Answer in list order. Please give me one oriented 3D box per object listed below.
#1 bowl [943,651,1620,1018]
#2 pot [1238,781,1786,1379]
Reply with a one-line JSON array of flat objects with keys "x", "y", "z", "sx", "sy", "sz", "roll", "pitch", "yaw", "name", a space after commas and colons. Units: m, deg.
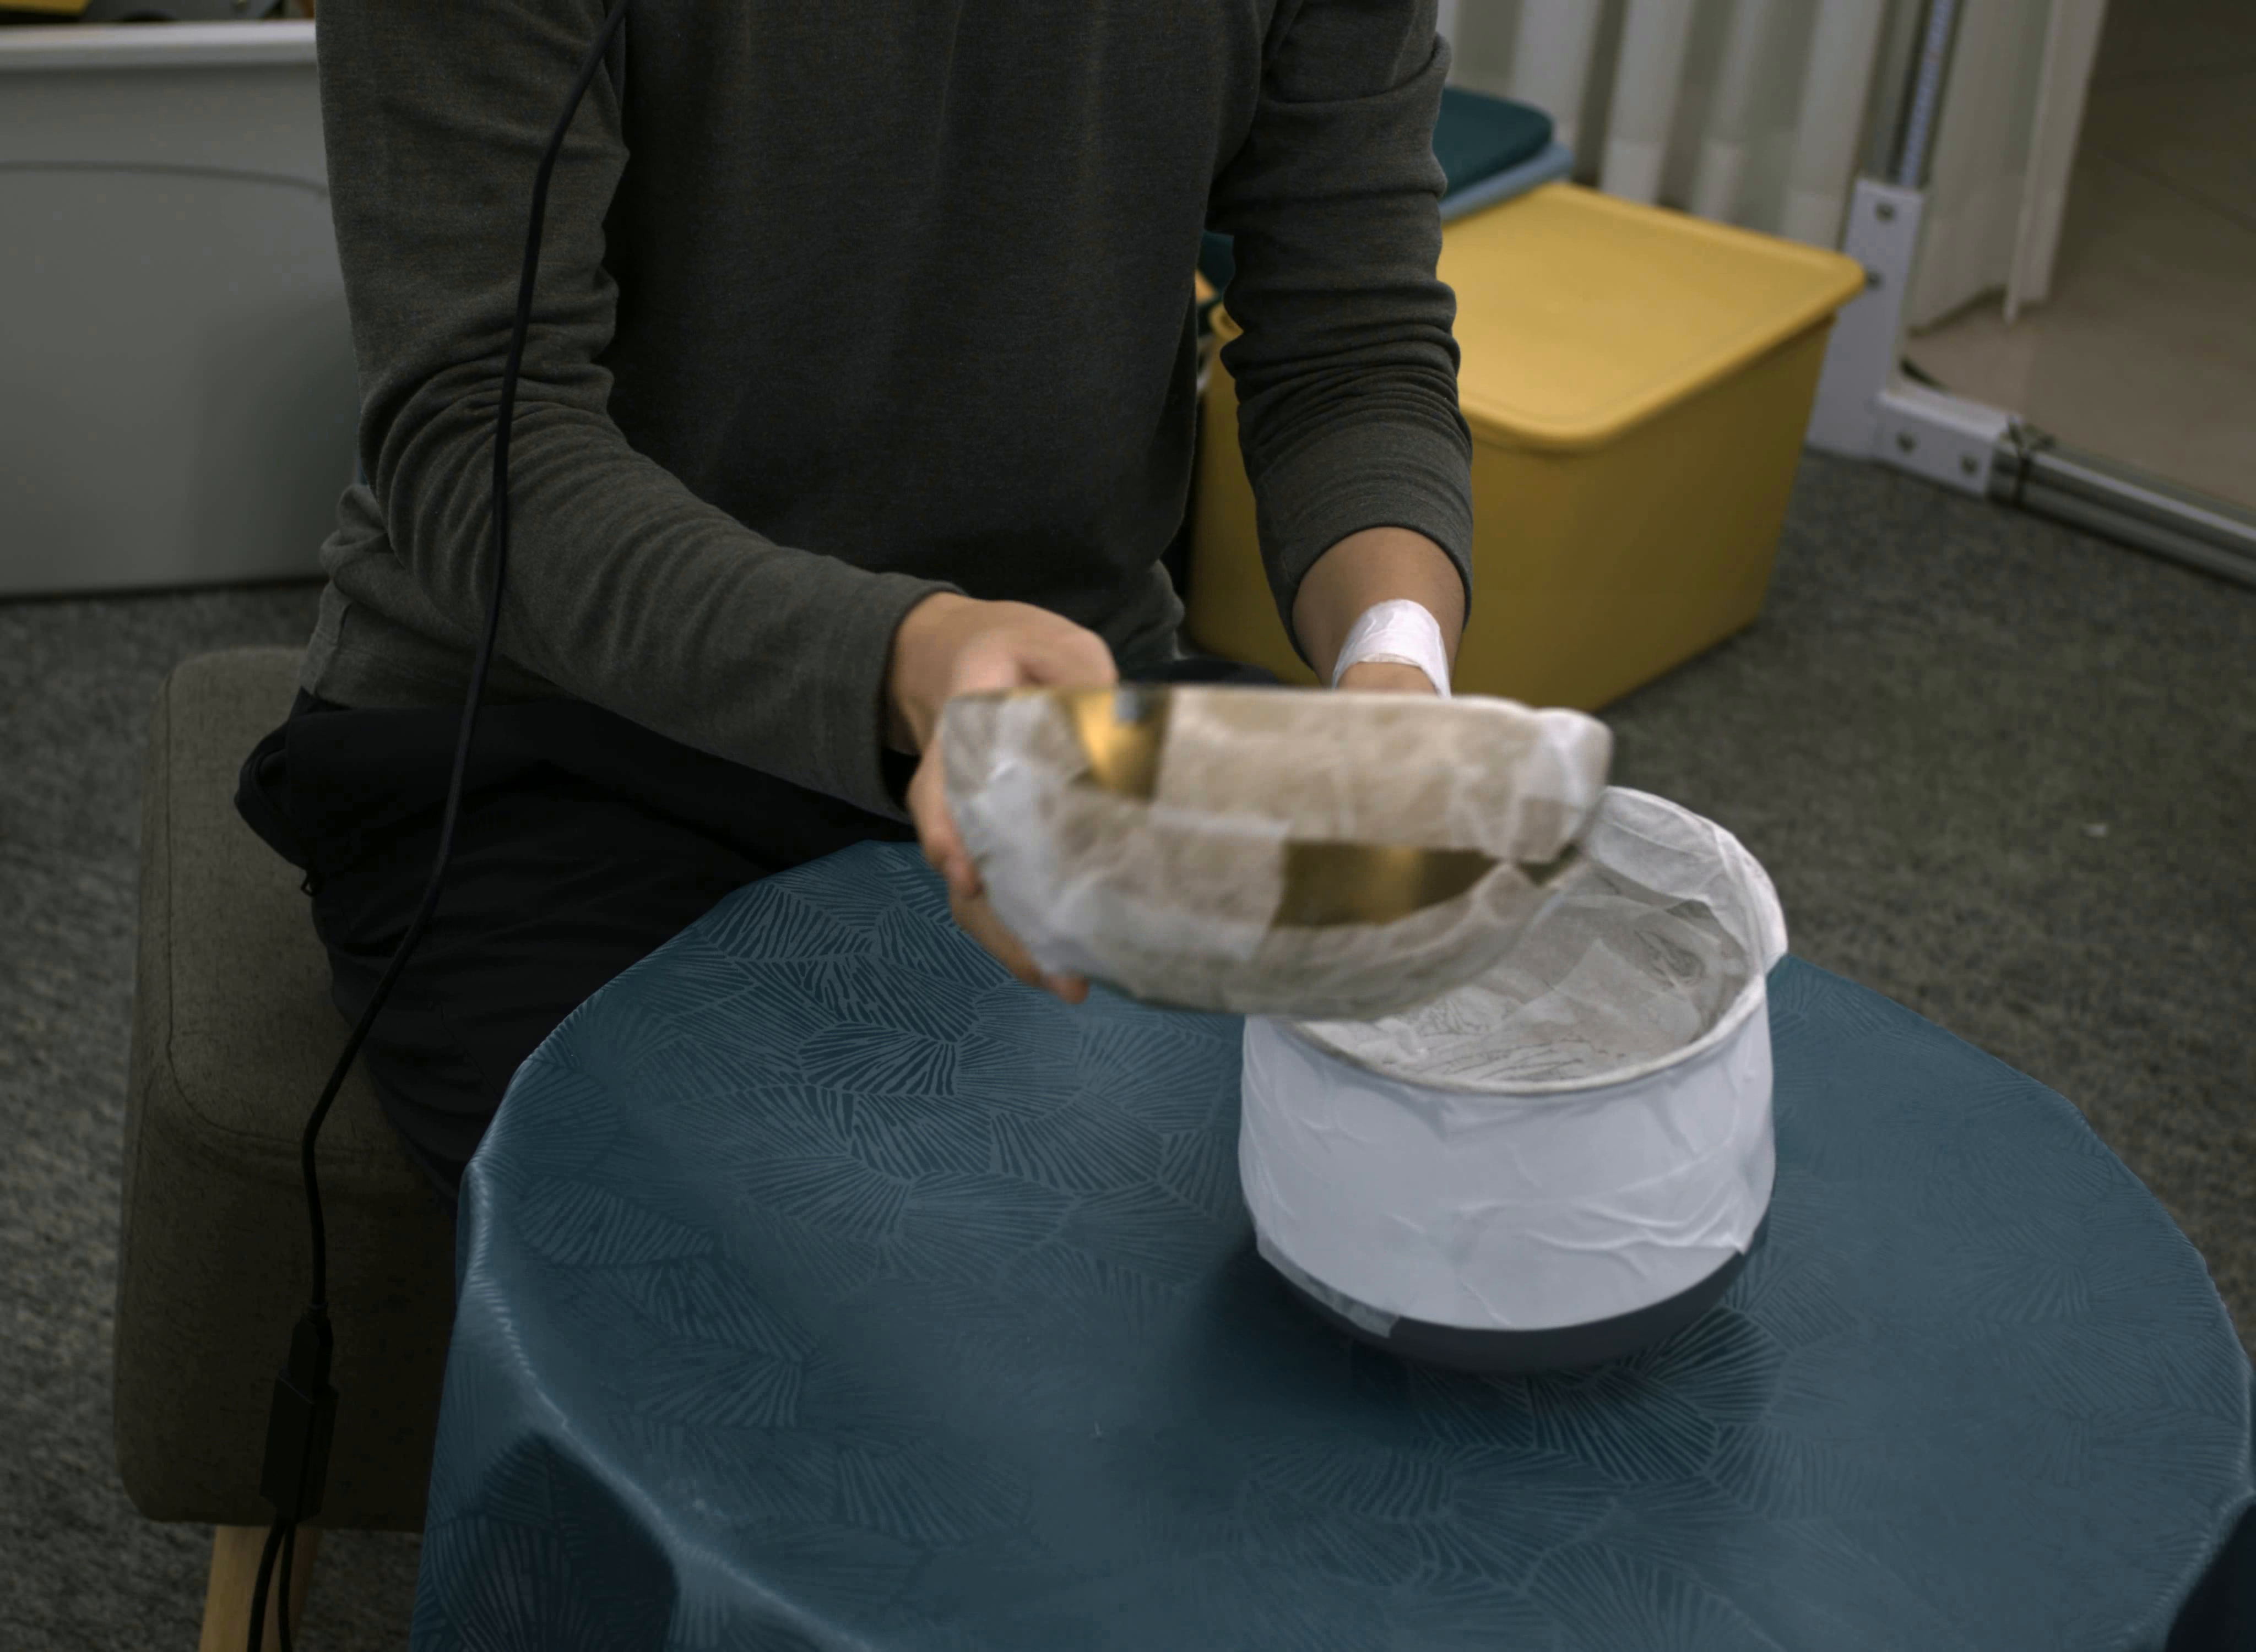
[{"x": 0.043, "y": 0.009, "z": 1.586, "sx": 0.214, "sy": 0.095, "sz": 0.214, "roll": 3, "pitch": -6, "yaw": 0, "name": "bowl"}, {"x": 0.120, "y": 0.067, "z": 1.759, "sx": 0.178, "sy": 0.136, "sz": 0.235, "roll": -5, "pitch": 34, "yaw": -4, "name": "pot"}]
